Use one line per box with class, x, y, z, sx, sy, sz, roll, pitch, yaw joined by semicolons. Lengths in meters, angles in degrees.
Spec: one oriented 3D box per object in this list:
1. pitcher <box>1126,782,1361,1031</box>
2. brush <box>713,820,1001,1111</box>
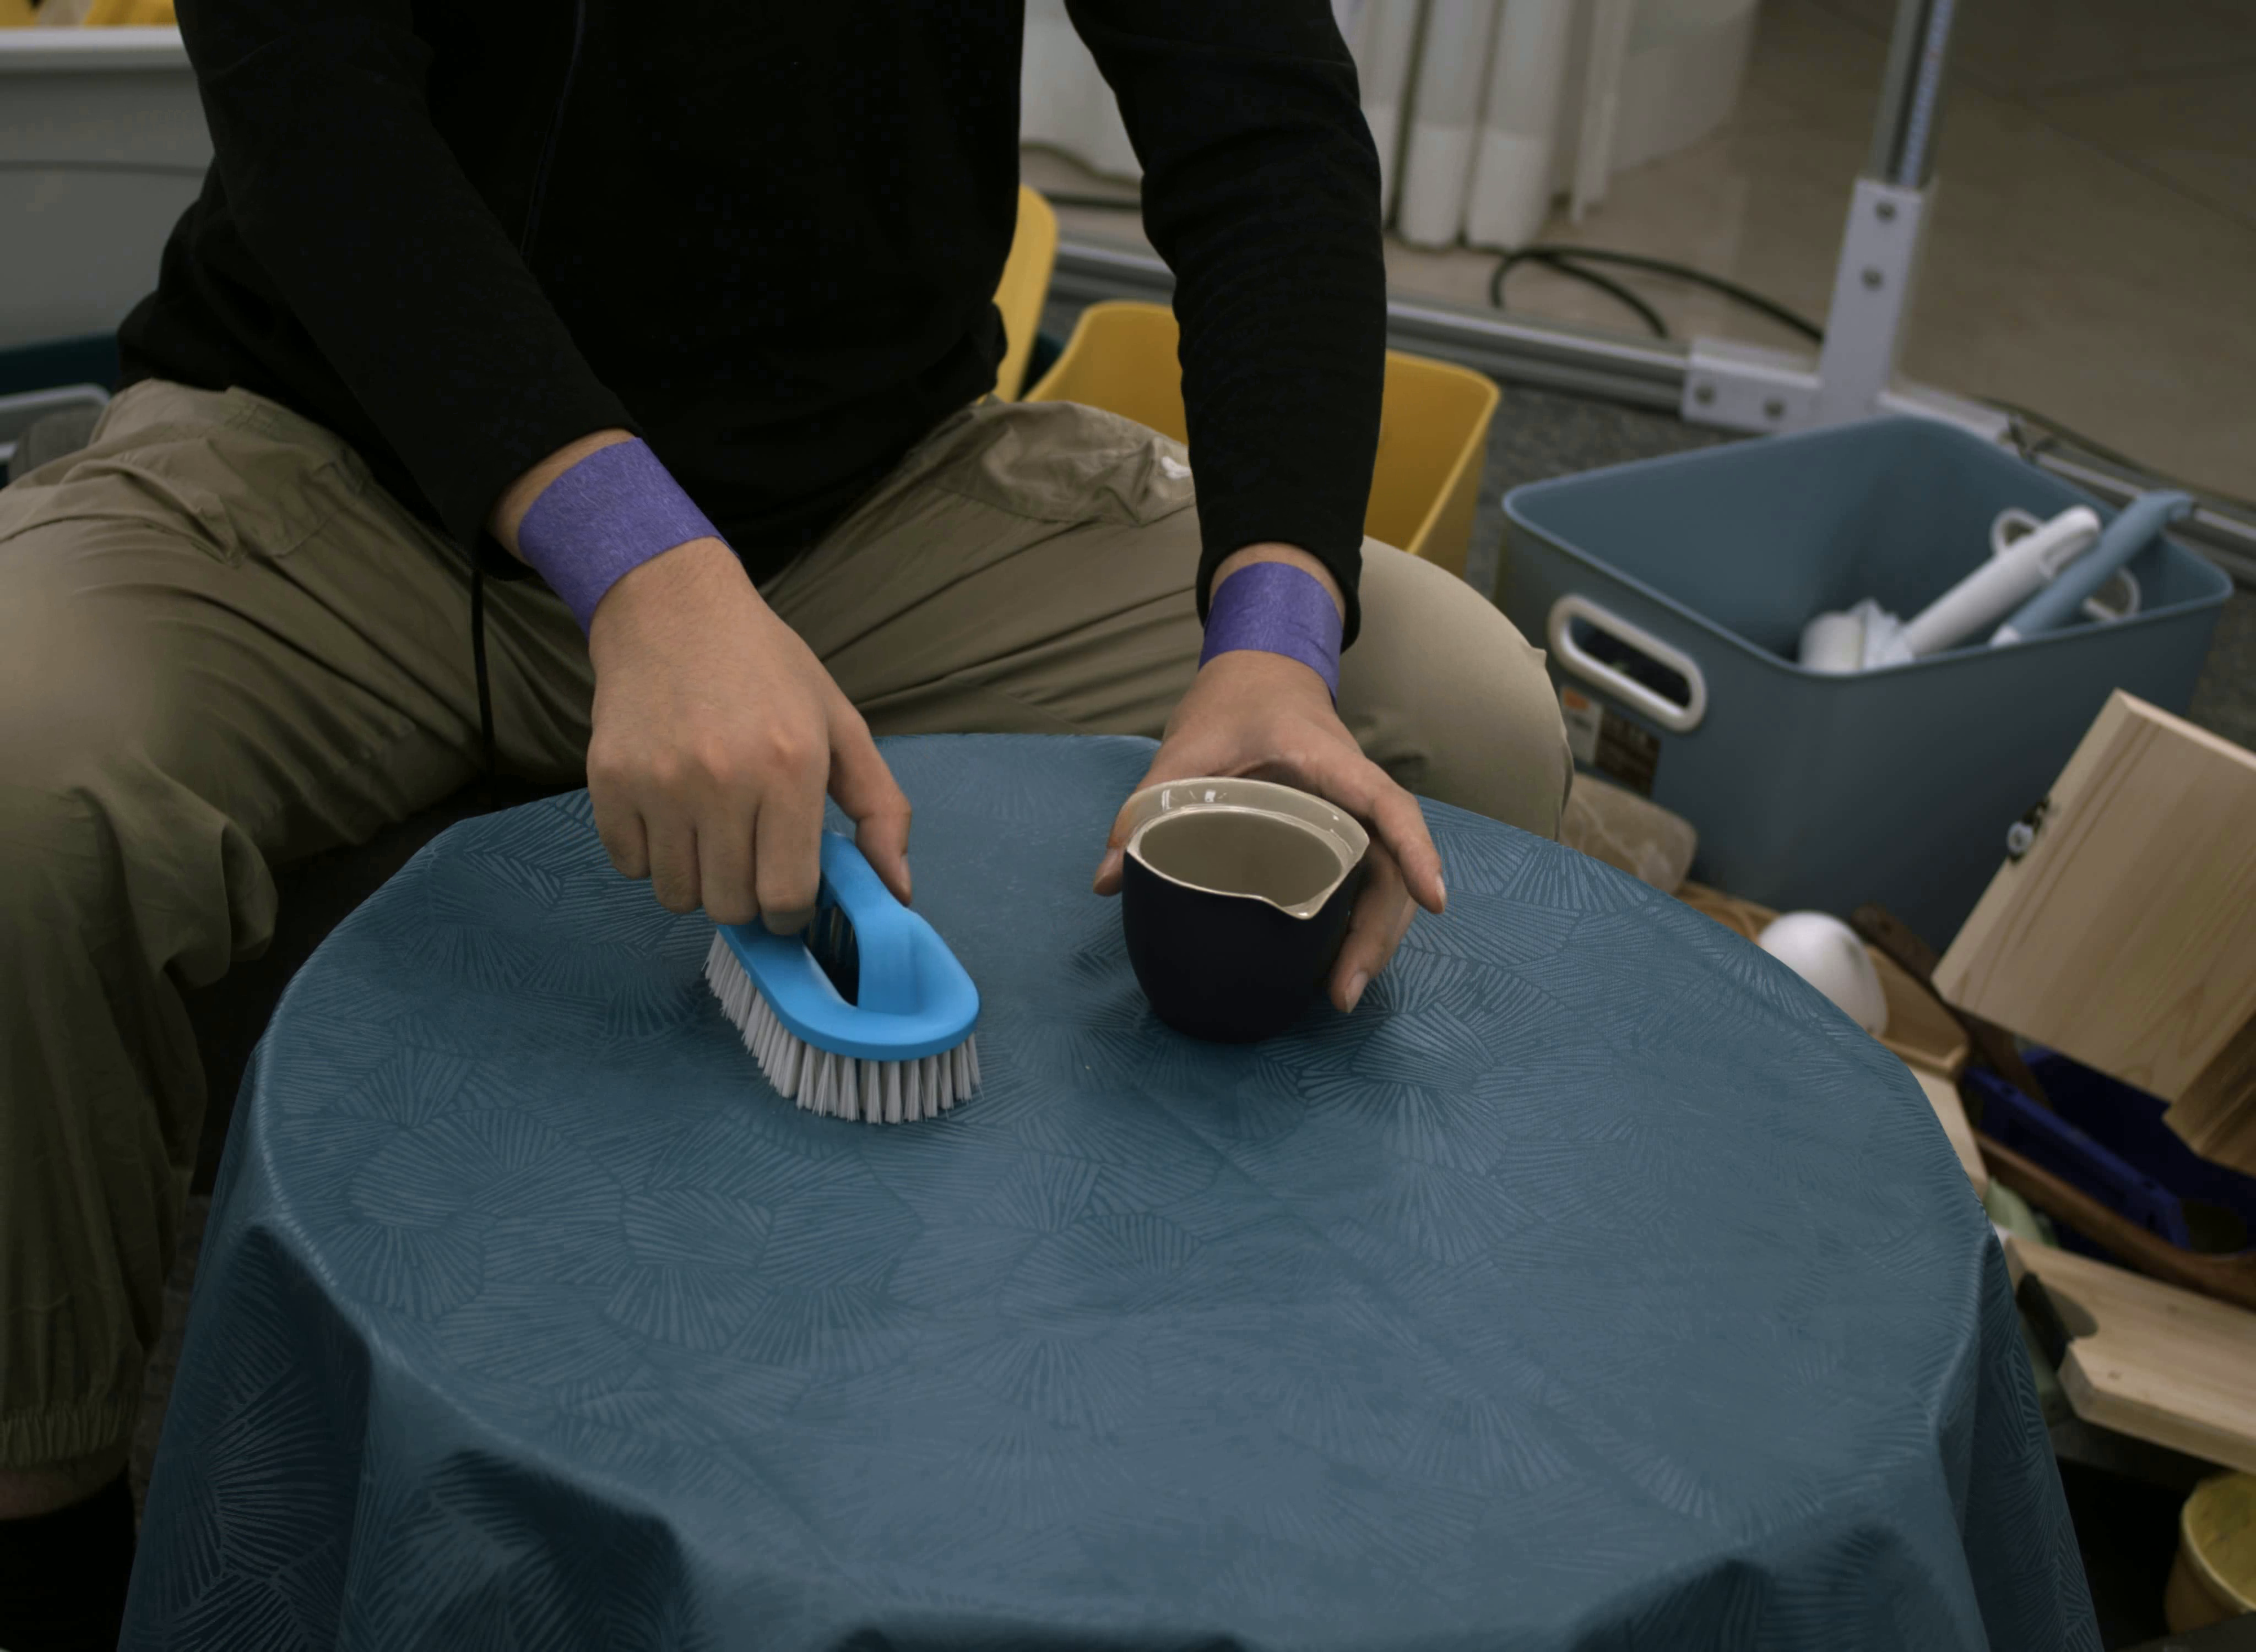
pitcher;0.040;0.033;1.905;0.083;0.071;0.097;-1;29;-18
brush;-0.097;0.040;1.869;0.084;0.063;0.143;-8;29;-19
